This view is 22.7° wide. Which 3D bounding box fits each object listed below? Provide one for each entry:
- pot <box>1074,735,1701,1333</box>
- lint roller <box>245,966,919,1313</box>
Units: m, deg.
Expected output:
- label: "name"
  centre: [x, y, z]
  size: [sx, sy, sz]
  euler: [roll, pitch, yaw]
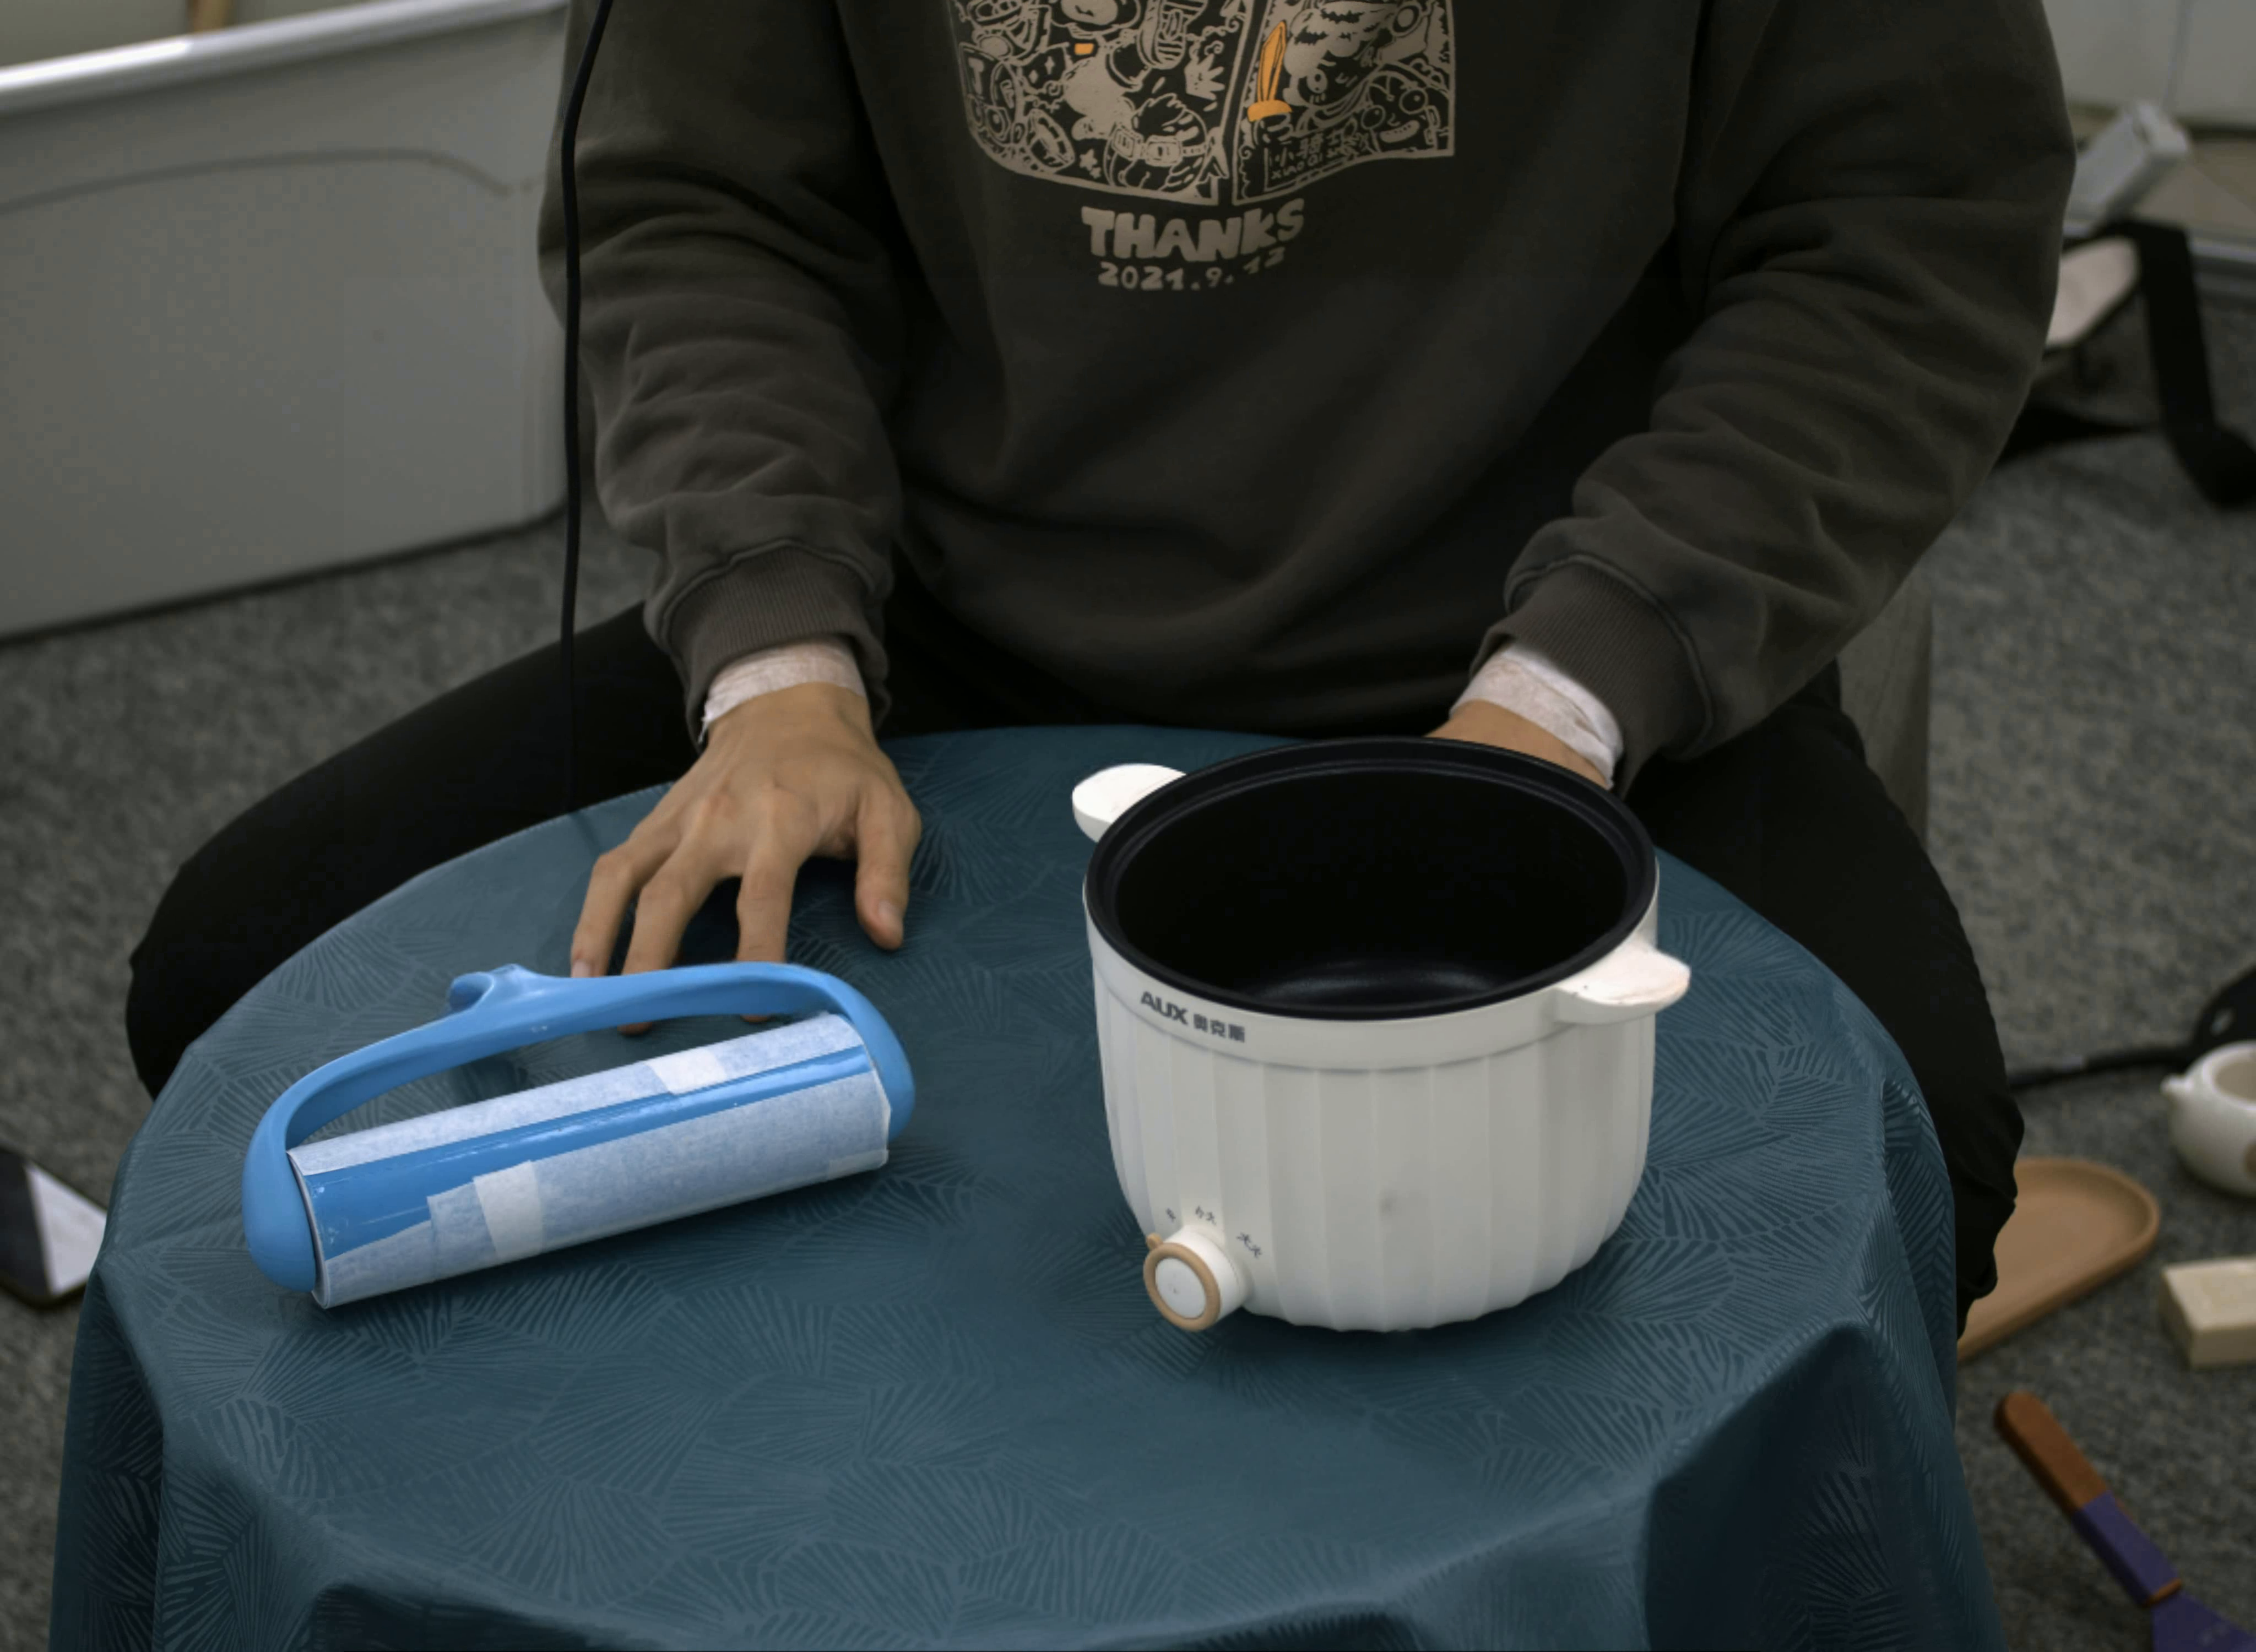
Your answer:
- label: "pot"
  centre: [0.078, 0.074, 1.797]
  size: [0.239, 0.141, 0.193]
  euler: [18, 31, 37]
- label: "lint roller"
  centre: [-0.202, 0.084, 1.891]
  size: [0.230, 0.067, 0.181]
  euler: [-16, 31, -20]
